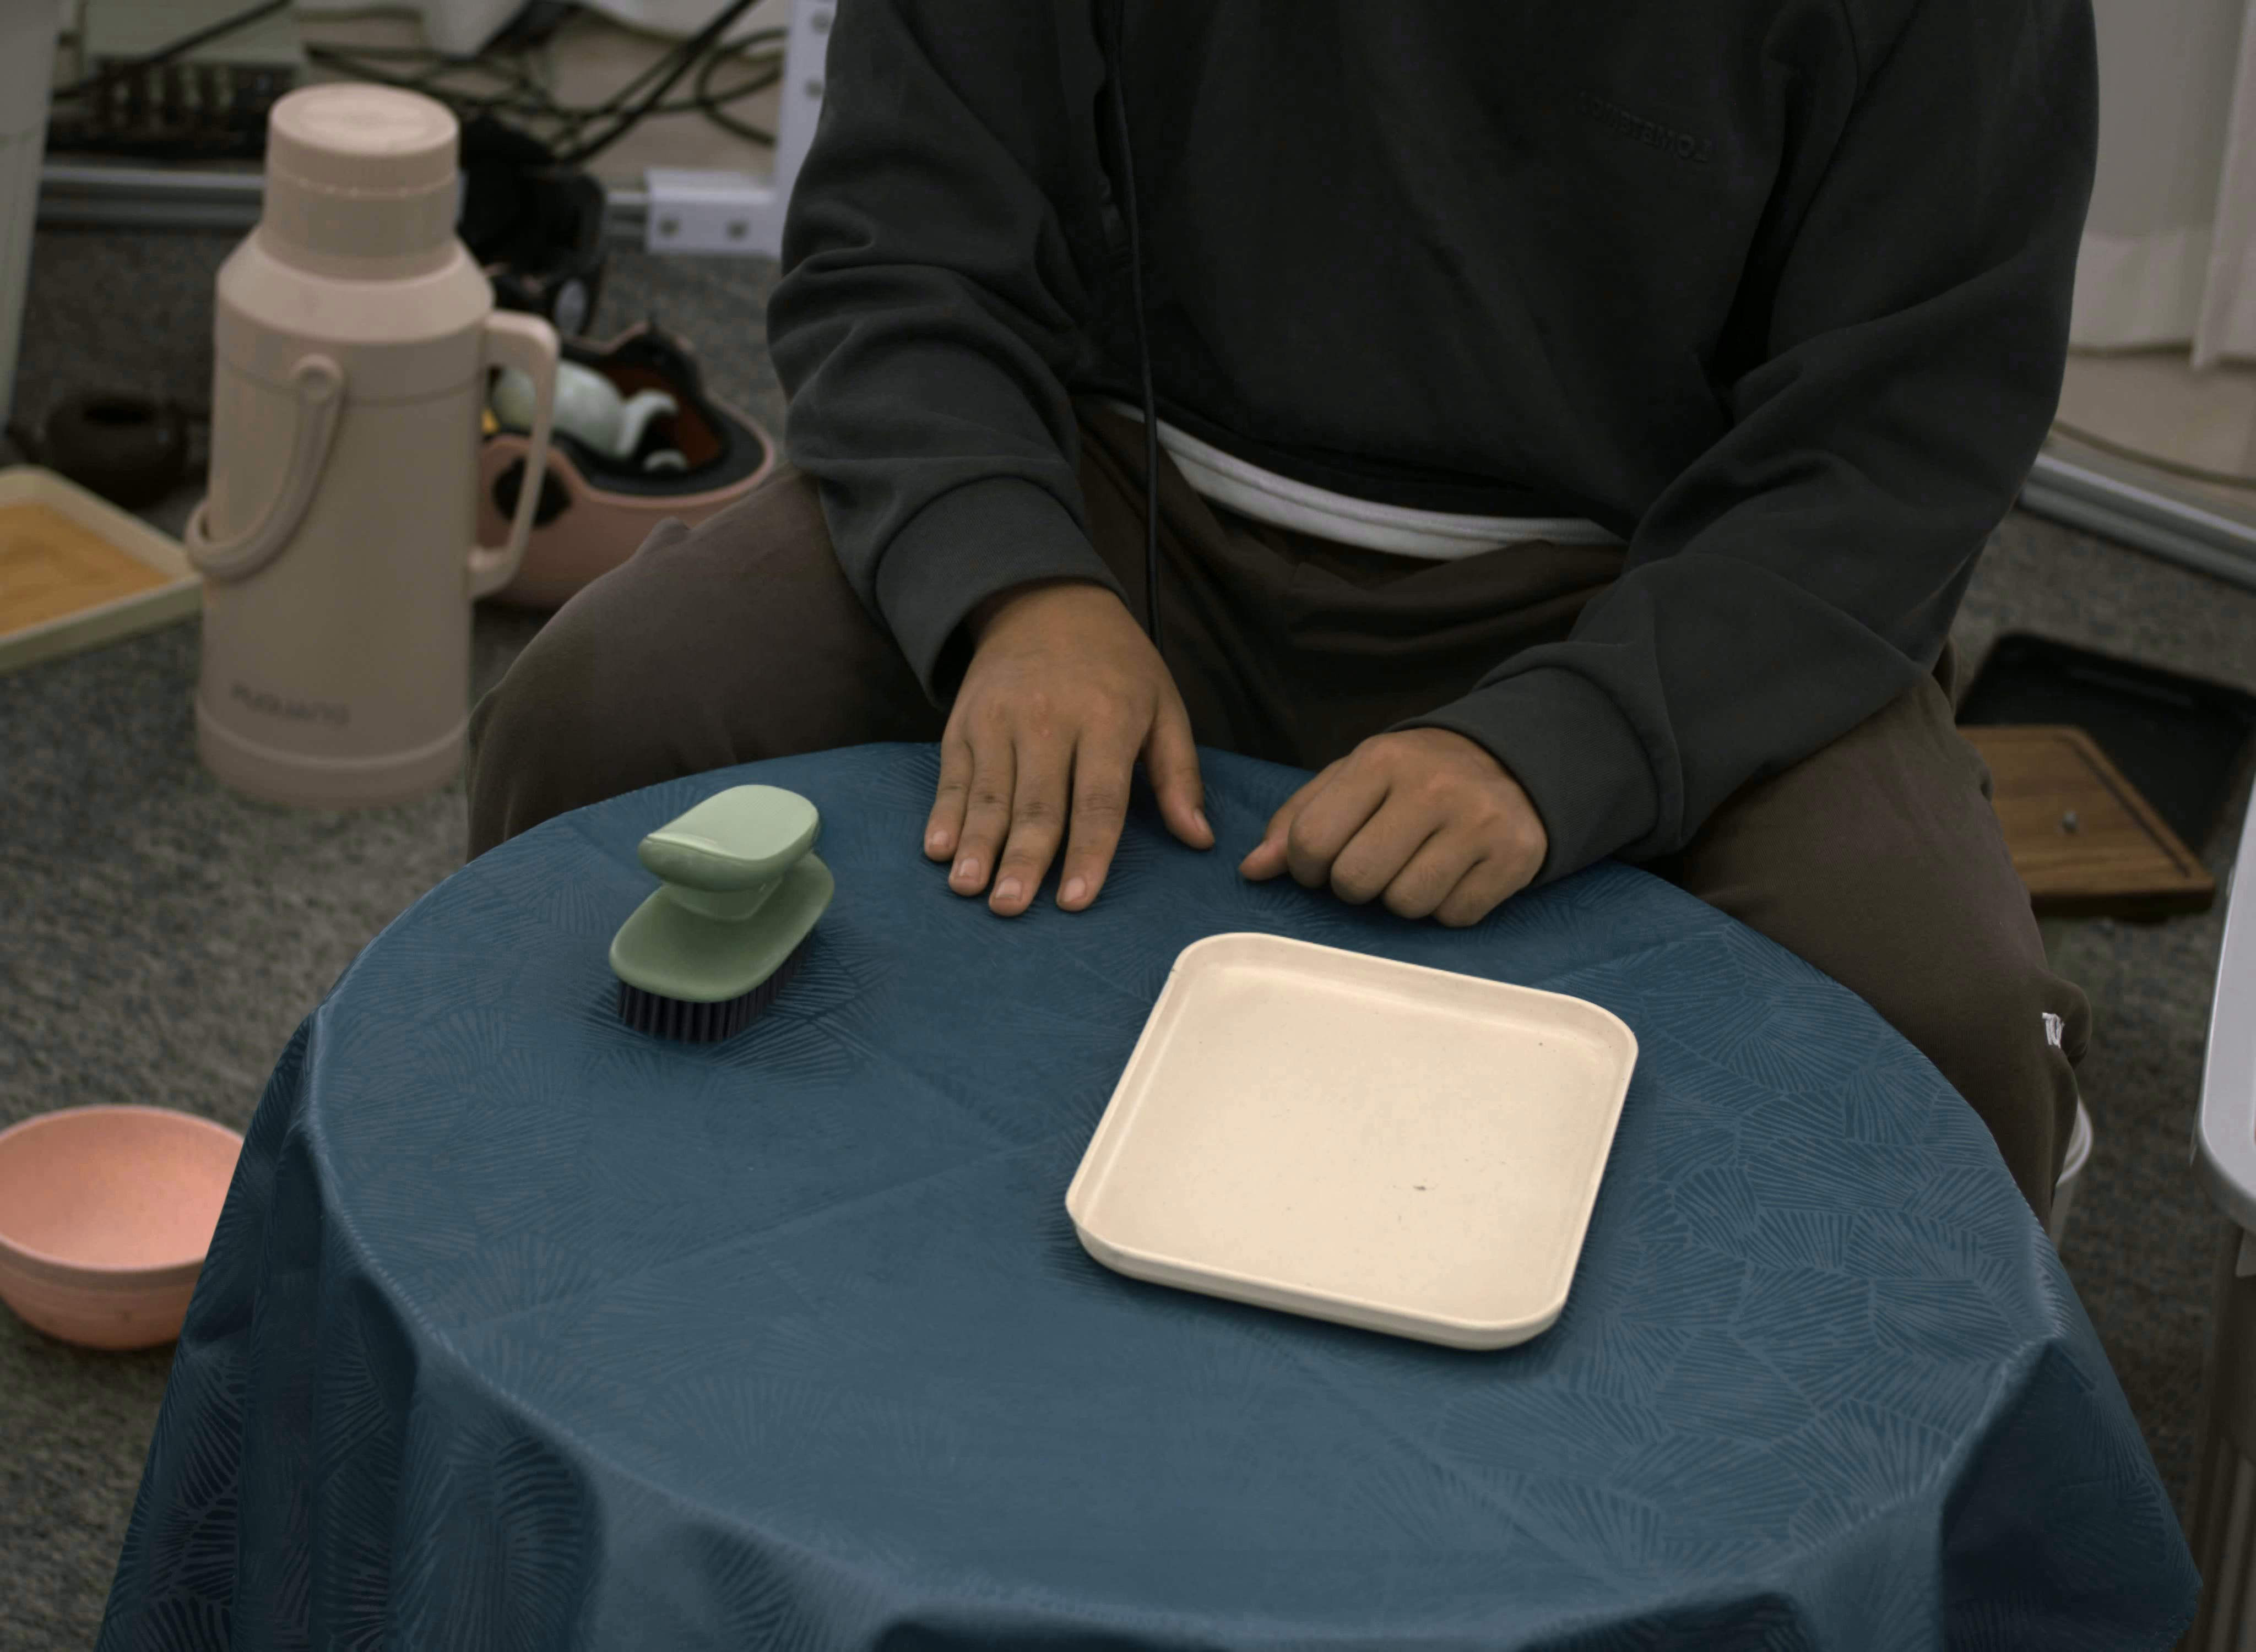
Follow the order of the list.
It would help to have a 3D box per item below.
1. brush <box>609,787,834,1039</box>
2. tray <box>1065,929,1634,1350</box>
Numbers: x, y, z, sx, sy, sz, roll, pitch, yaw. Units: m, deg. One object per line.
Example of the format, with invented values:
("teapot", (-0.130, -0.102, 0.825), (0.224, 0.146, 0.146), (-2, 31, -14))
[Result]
("brush", (-0.144, 0.029, 1.899), (0.059, 0.076, 0.123), (14, 14, 12))
("tray", (0.079, 0.107, 1.838), (0.171, 0.017, 0.240), (12, 27, 9))
